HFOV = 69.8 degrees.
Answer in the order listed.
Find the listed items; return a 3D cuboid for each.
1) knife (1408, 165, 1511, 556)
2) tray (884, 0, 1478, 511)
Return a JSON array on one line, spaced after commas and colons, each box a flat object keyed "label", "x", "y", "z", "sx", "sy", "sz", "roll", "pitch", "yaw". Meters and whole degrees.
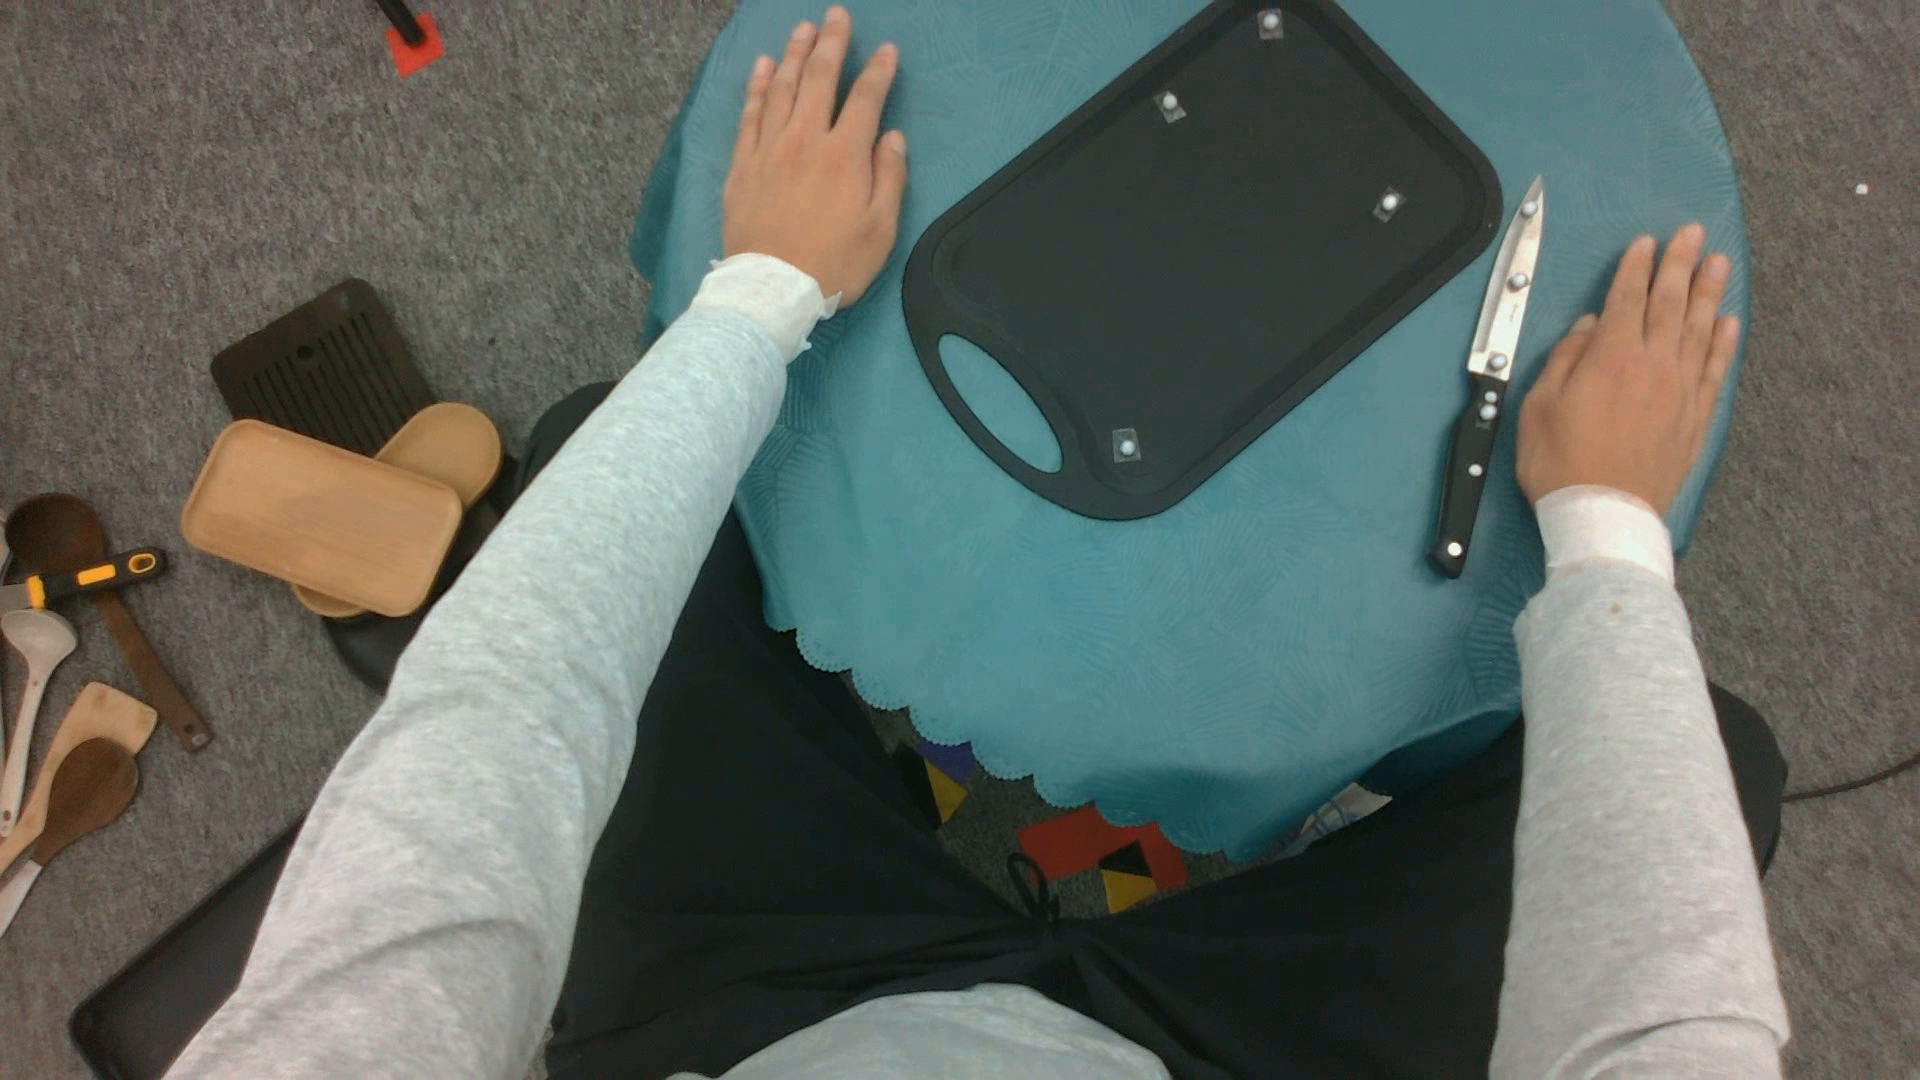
[{"label": "knife", "x": 0.277, "y": -0.101, "z": 0.747, "sx": 0.024, "sy": 0.016, "sz": 0.239, "roll": 17, "pitch": 75, "yaw": 2}, {"label": "tray", "x": 0.118, "y": -0.166, "z": 0.764, "sx": 0.326, "sy": 0.010, "sz": 0.211, "roll": -39, "pitch": 80, "yaw": -8}]
